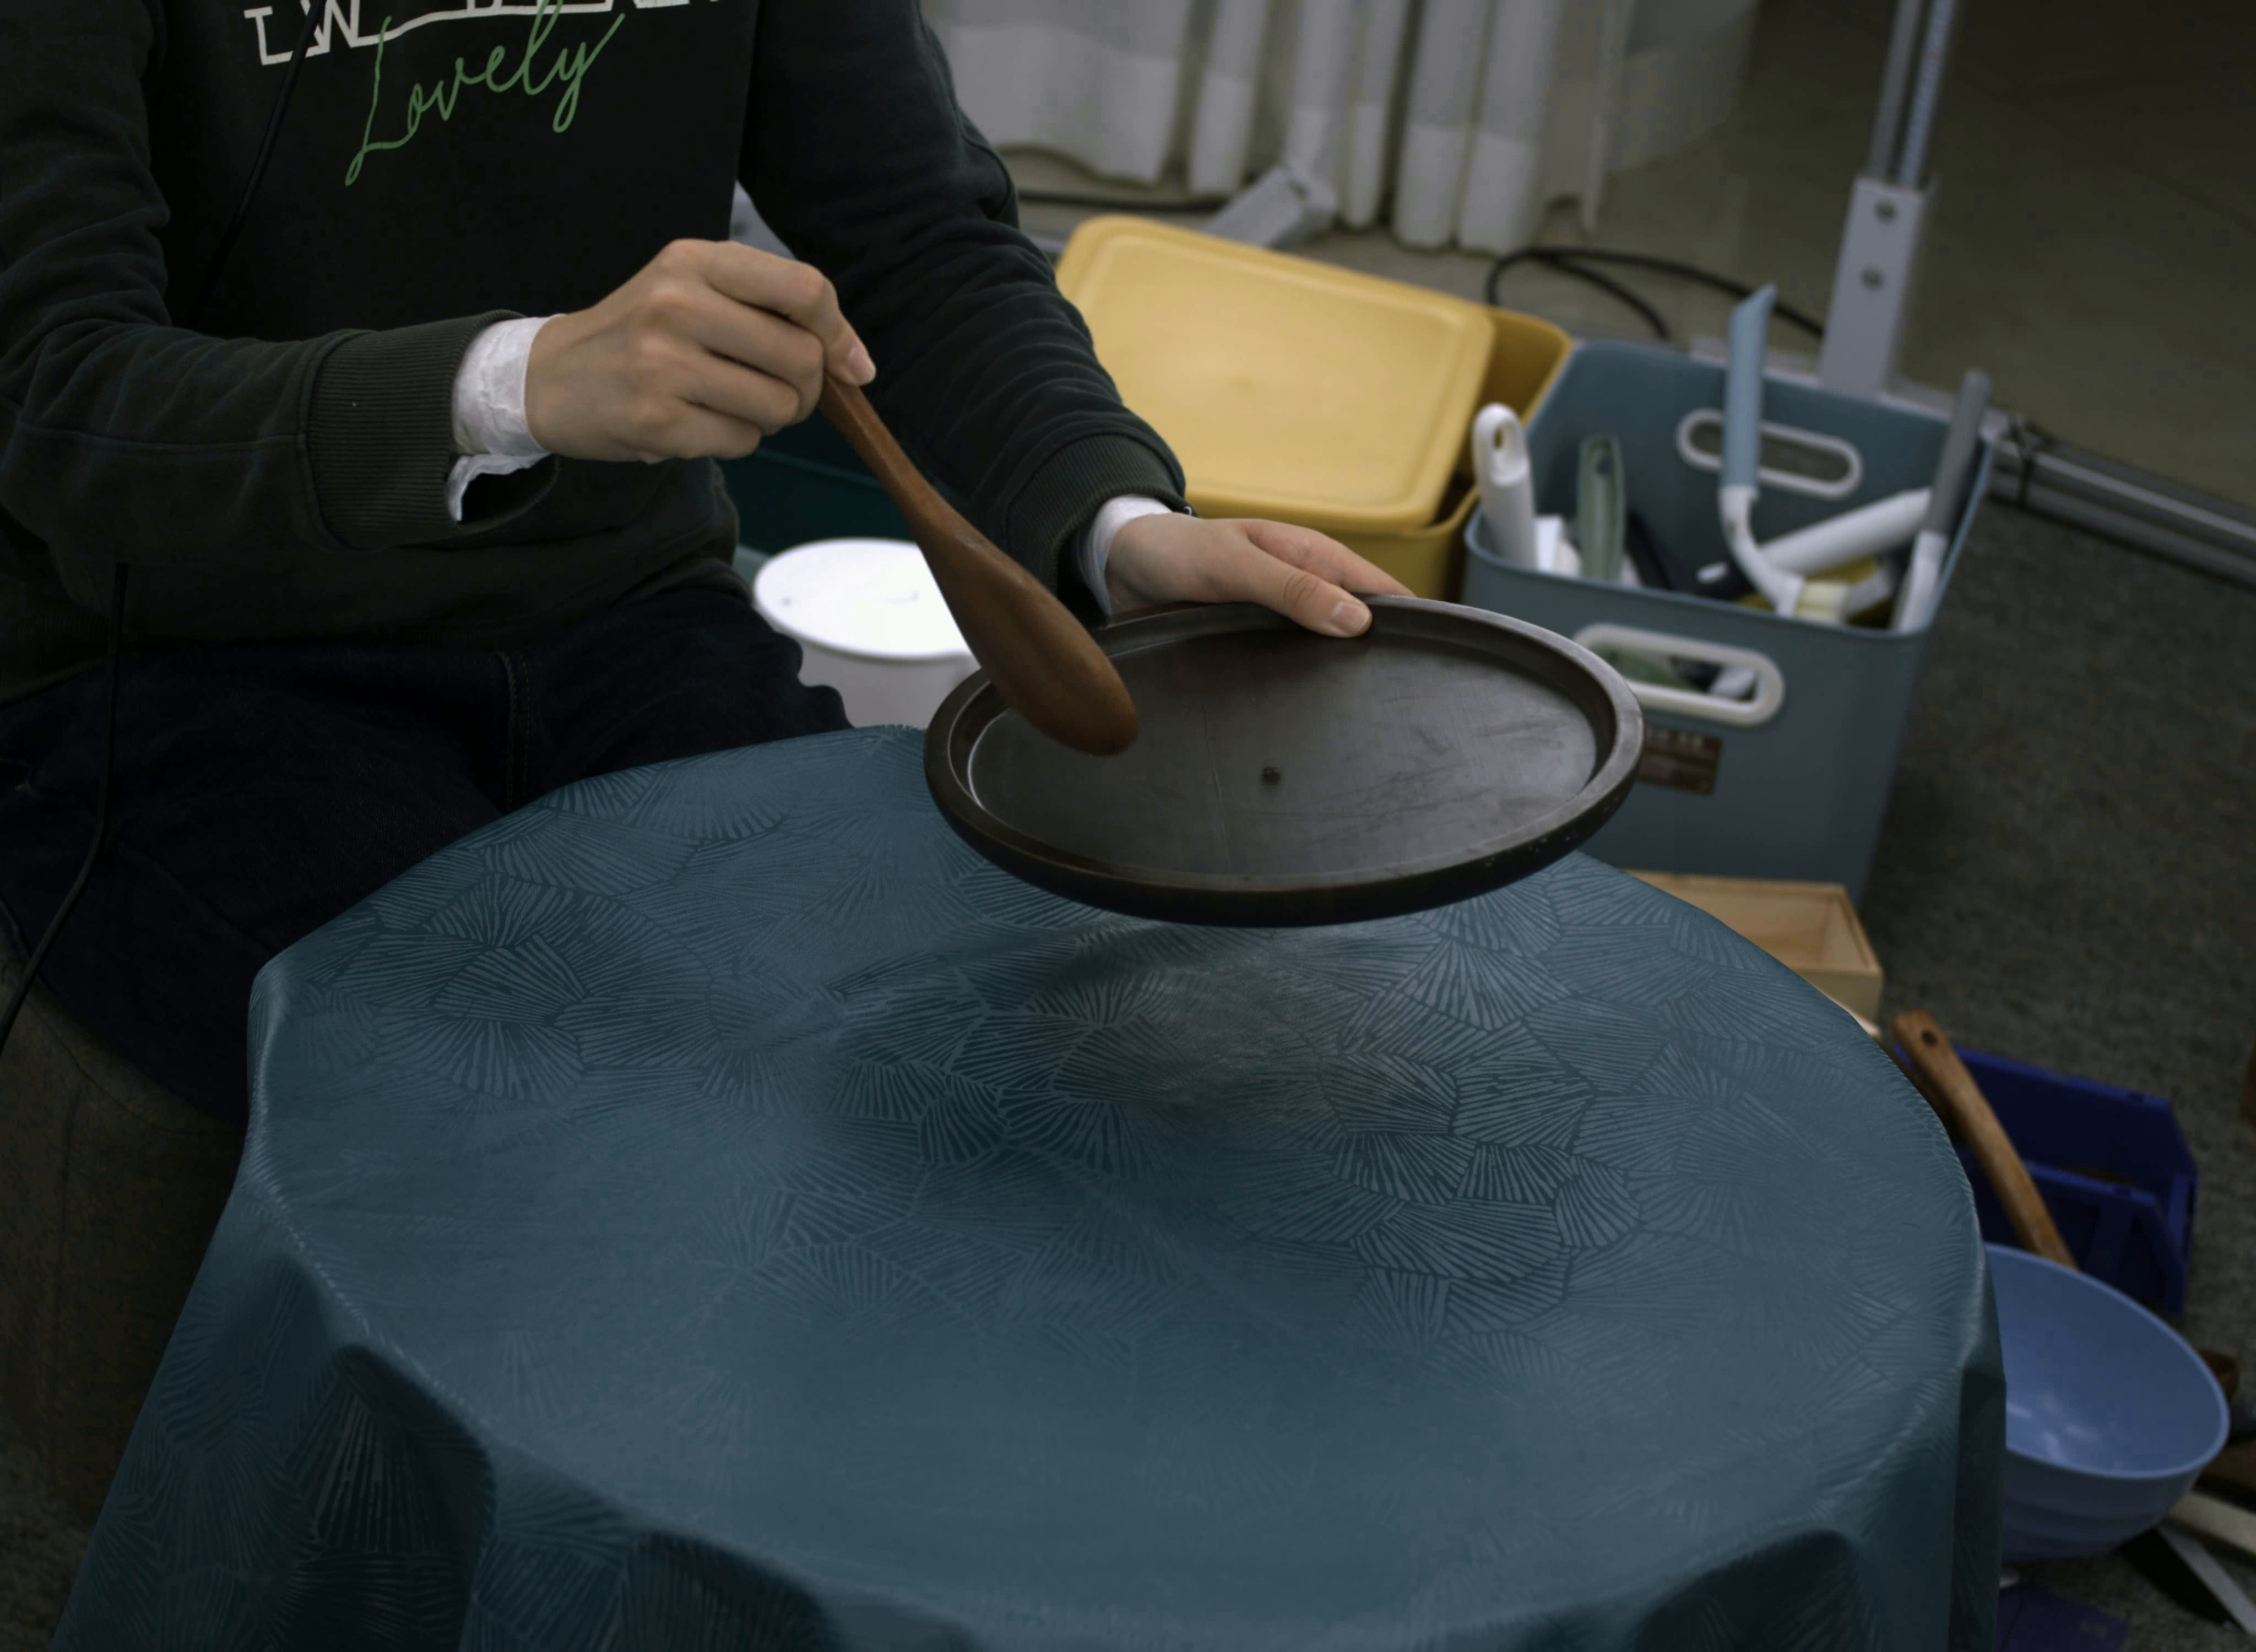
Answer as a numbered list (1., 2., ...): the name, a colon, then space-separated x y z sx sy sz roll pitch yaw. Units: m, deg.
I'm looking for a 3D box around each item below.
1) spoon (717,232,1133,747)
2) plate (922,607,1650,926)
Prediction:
1. spoon: -0.069 -0.108 1.780 0.017 0.215 0.076 -41 15 -20
2. plate: 0.055 -0.023 1.853 0.254 0.029 0.256 -1 25 0
